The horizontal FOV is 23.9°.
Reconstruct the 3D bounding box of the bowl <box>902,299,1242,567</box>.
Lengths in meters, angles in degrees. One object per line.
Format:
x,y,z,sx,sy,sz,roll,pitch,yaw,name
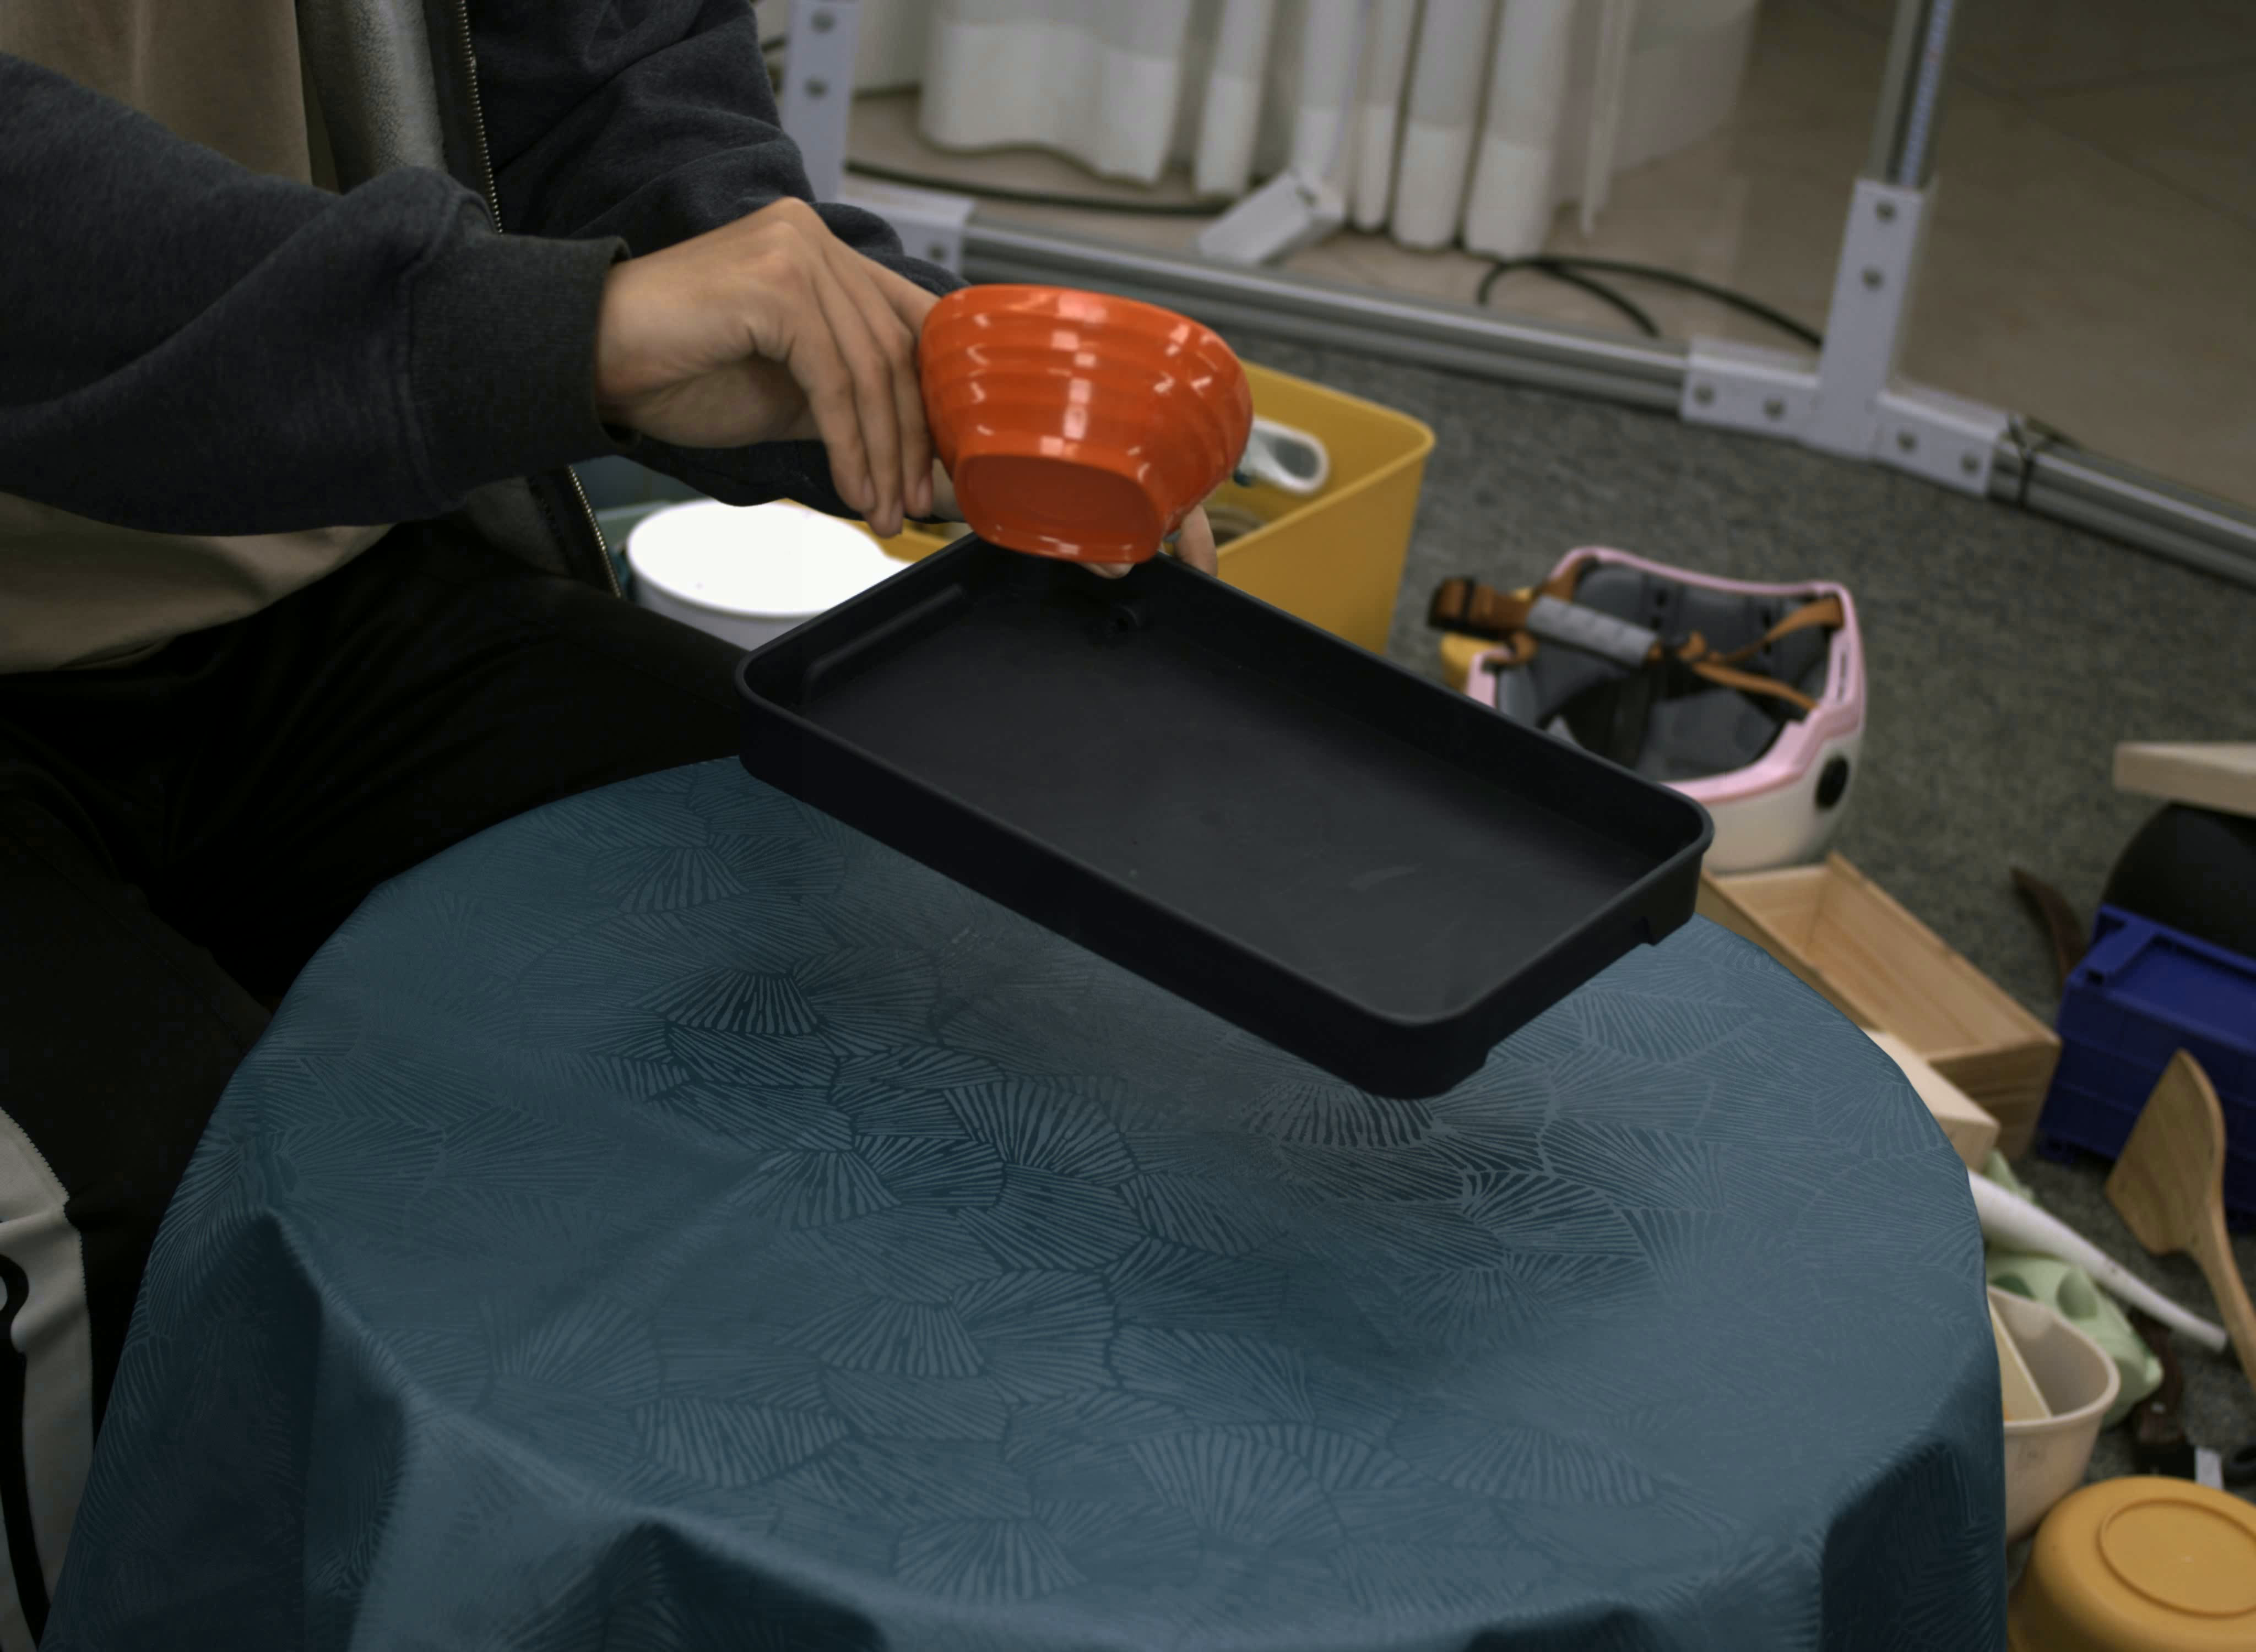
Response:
-0.023,-0.120,1.697,0.119,0.051,0.118,15,-15,4,bowl

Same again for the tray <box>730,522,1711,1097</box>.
0.029,-0.016,1.856,0.320,0.037,0.184,27,39,31,tray
